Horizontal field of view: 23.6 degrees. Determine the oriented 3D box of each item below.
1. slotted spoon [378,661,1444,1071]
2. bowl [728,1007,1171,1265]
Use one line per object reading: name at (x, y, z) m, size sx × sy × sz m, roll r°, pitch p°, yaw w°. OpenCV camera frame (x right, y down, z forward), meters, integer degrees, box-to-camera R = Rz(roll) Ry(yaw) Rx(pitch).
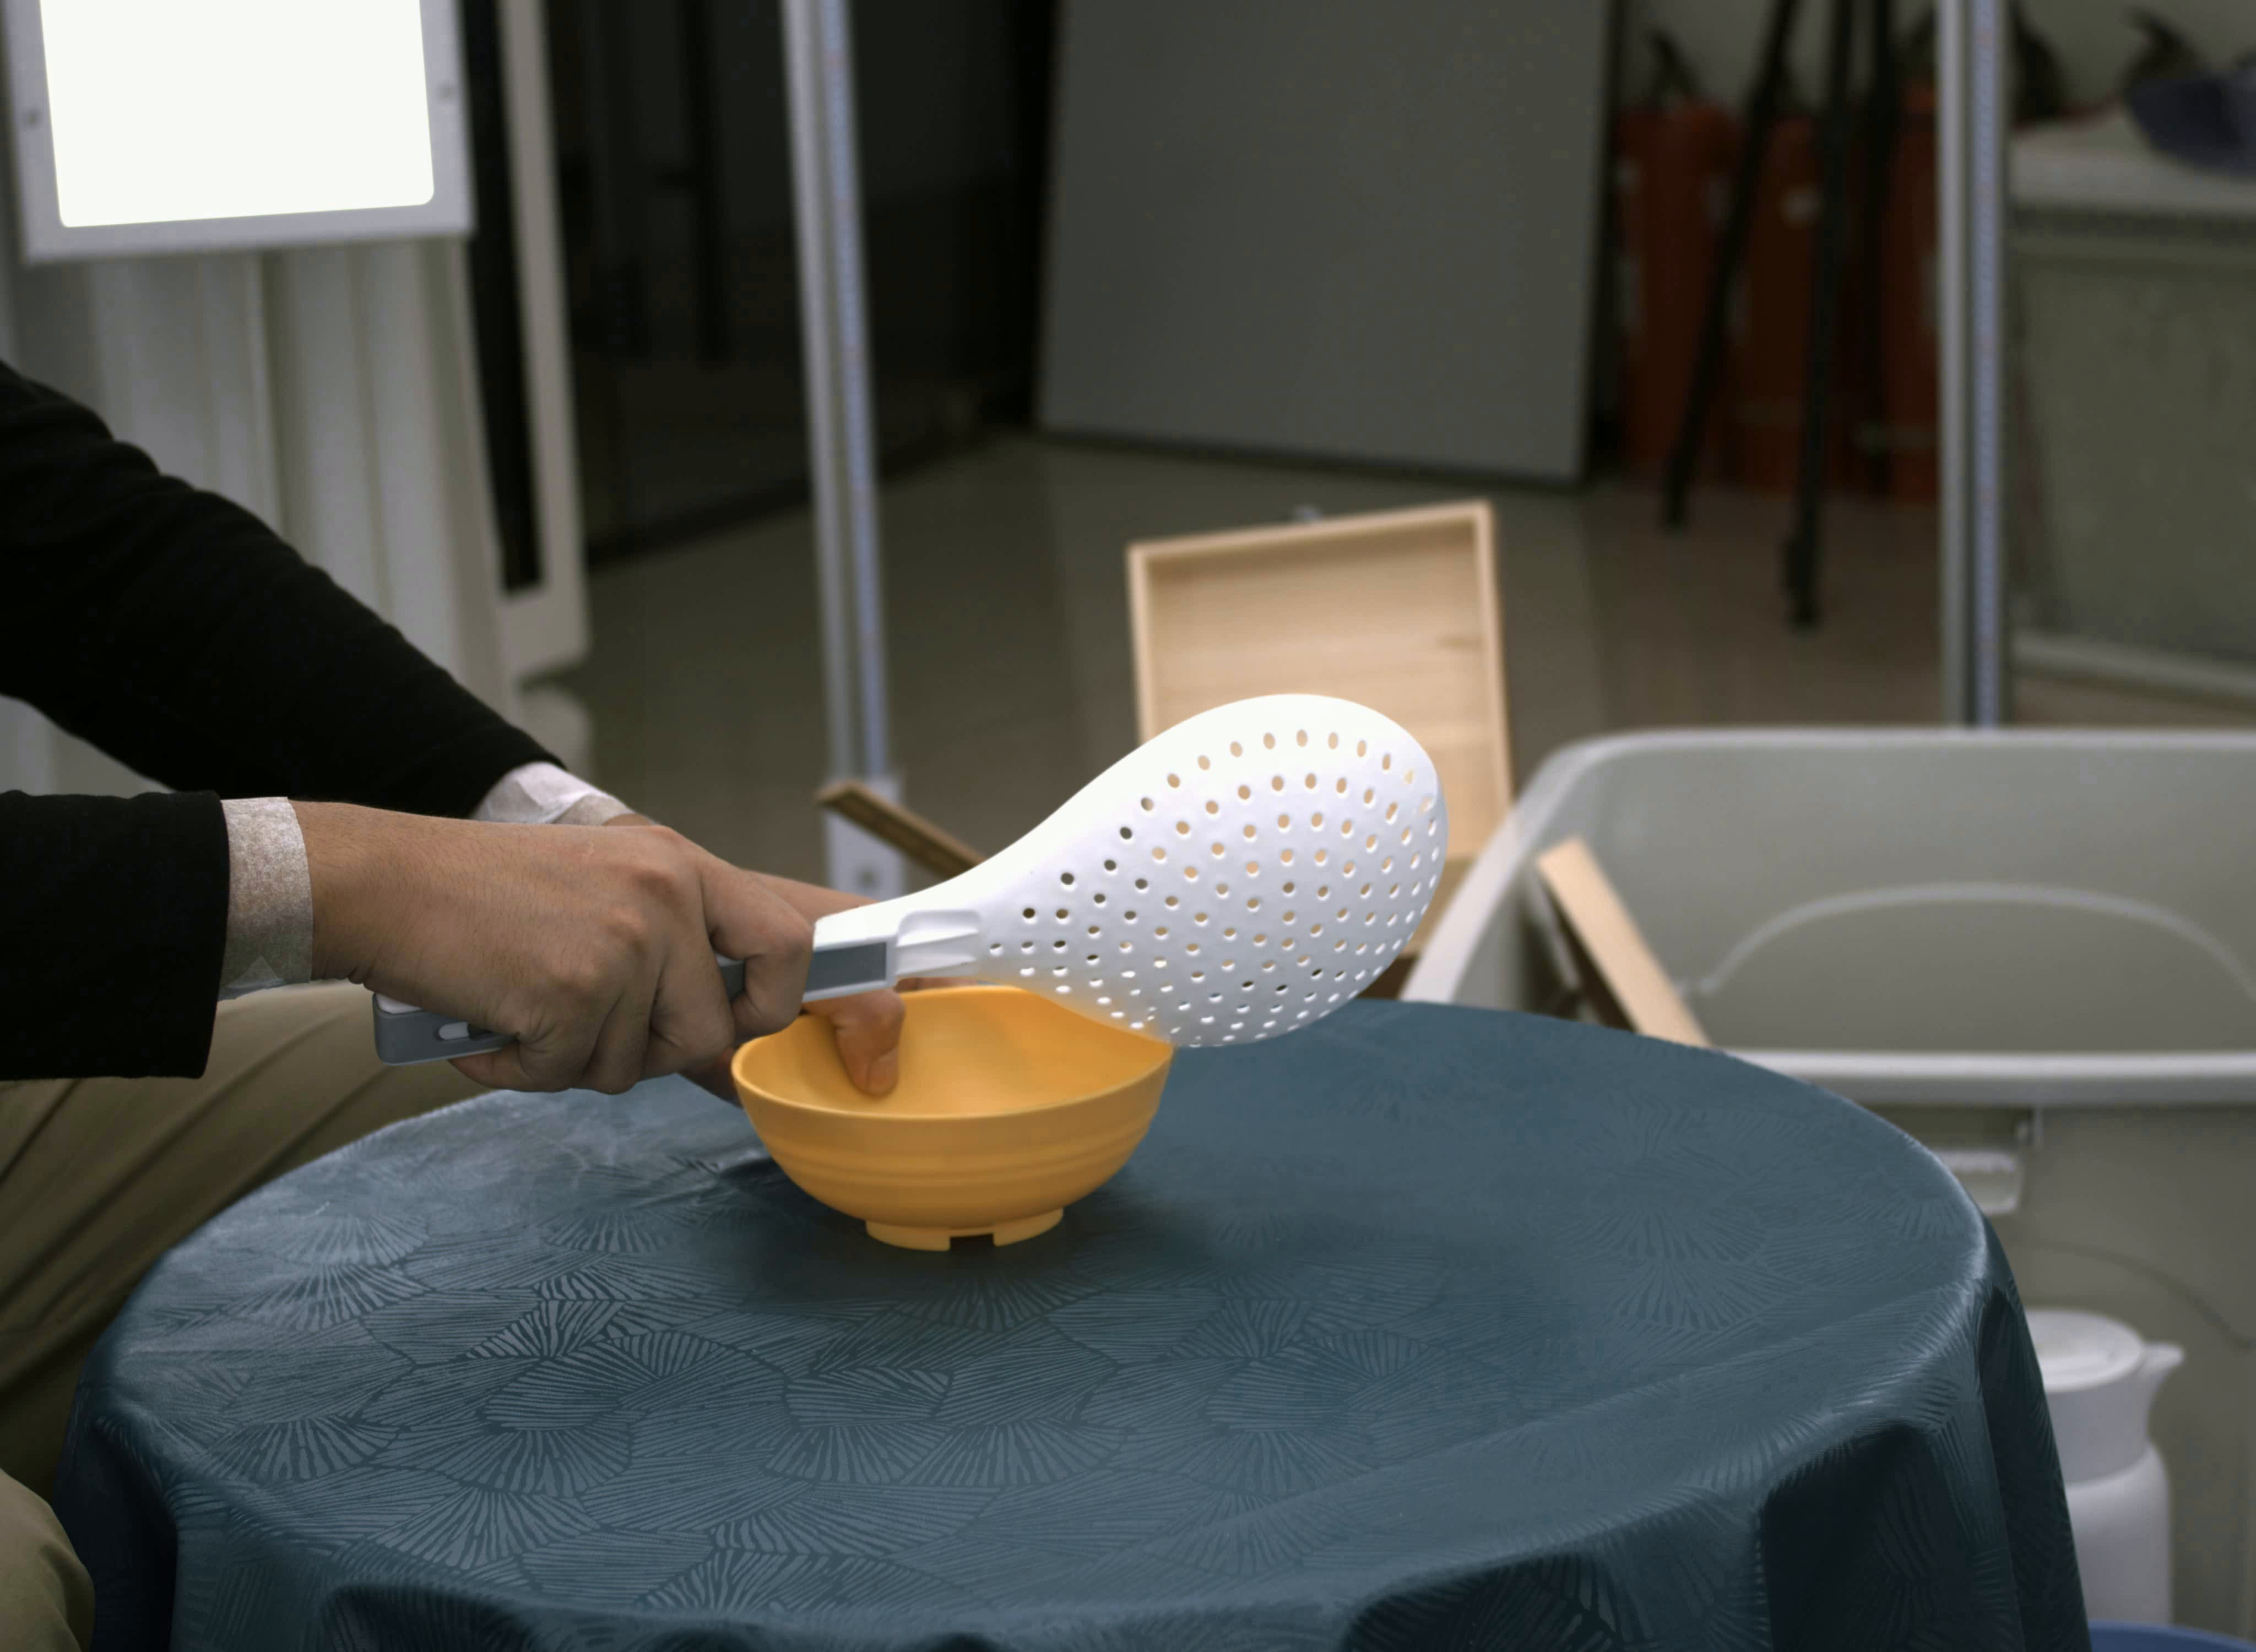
slotted spoon at (-0.061, 0.030, 1.671) m, size 0.343 × 0.137 × 0.046 m, roll -8°, pitch 33°, yaw -11°
bowl at (-0.056, 0.104, 1.746) m, size 0.143 × 0.061 × 0.145 m, roll -3°, pitch 11°, yaw 0°
